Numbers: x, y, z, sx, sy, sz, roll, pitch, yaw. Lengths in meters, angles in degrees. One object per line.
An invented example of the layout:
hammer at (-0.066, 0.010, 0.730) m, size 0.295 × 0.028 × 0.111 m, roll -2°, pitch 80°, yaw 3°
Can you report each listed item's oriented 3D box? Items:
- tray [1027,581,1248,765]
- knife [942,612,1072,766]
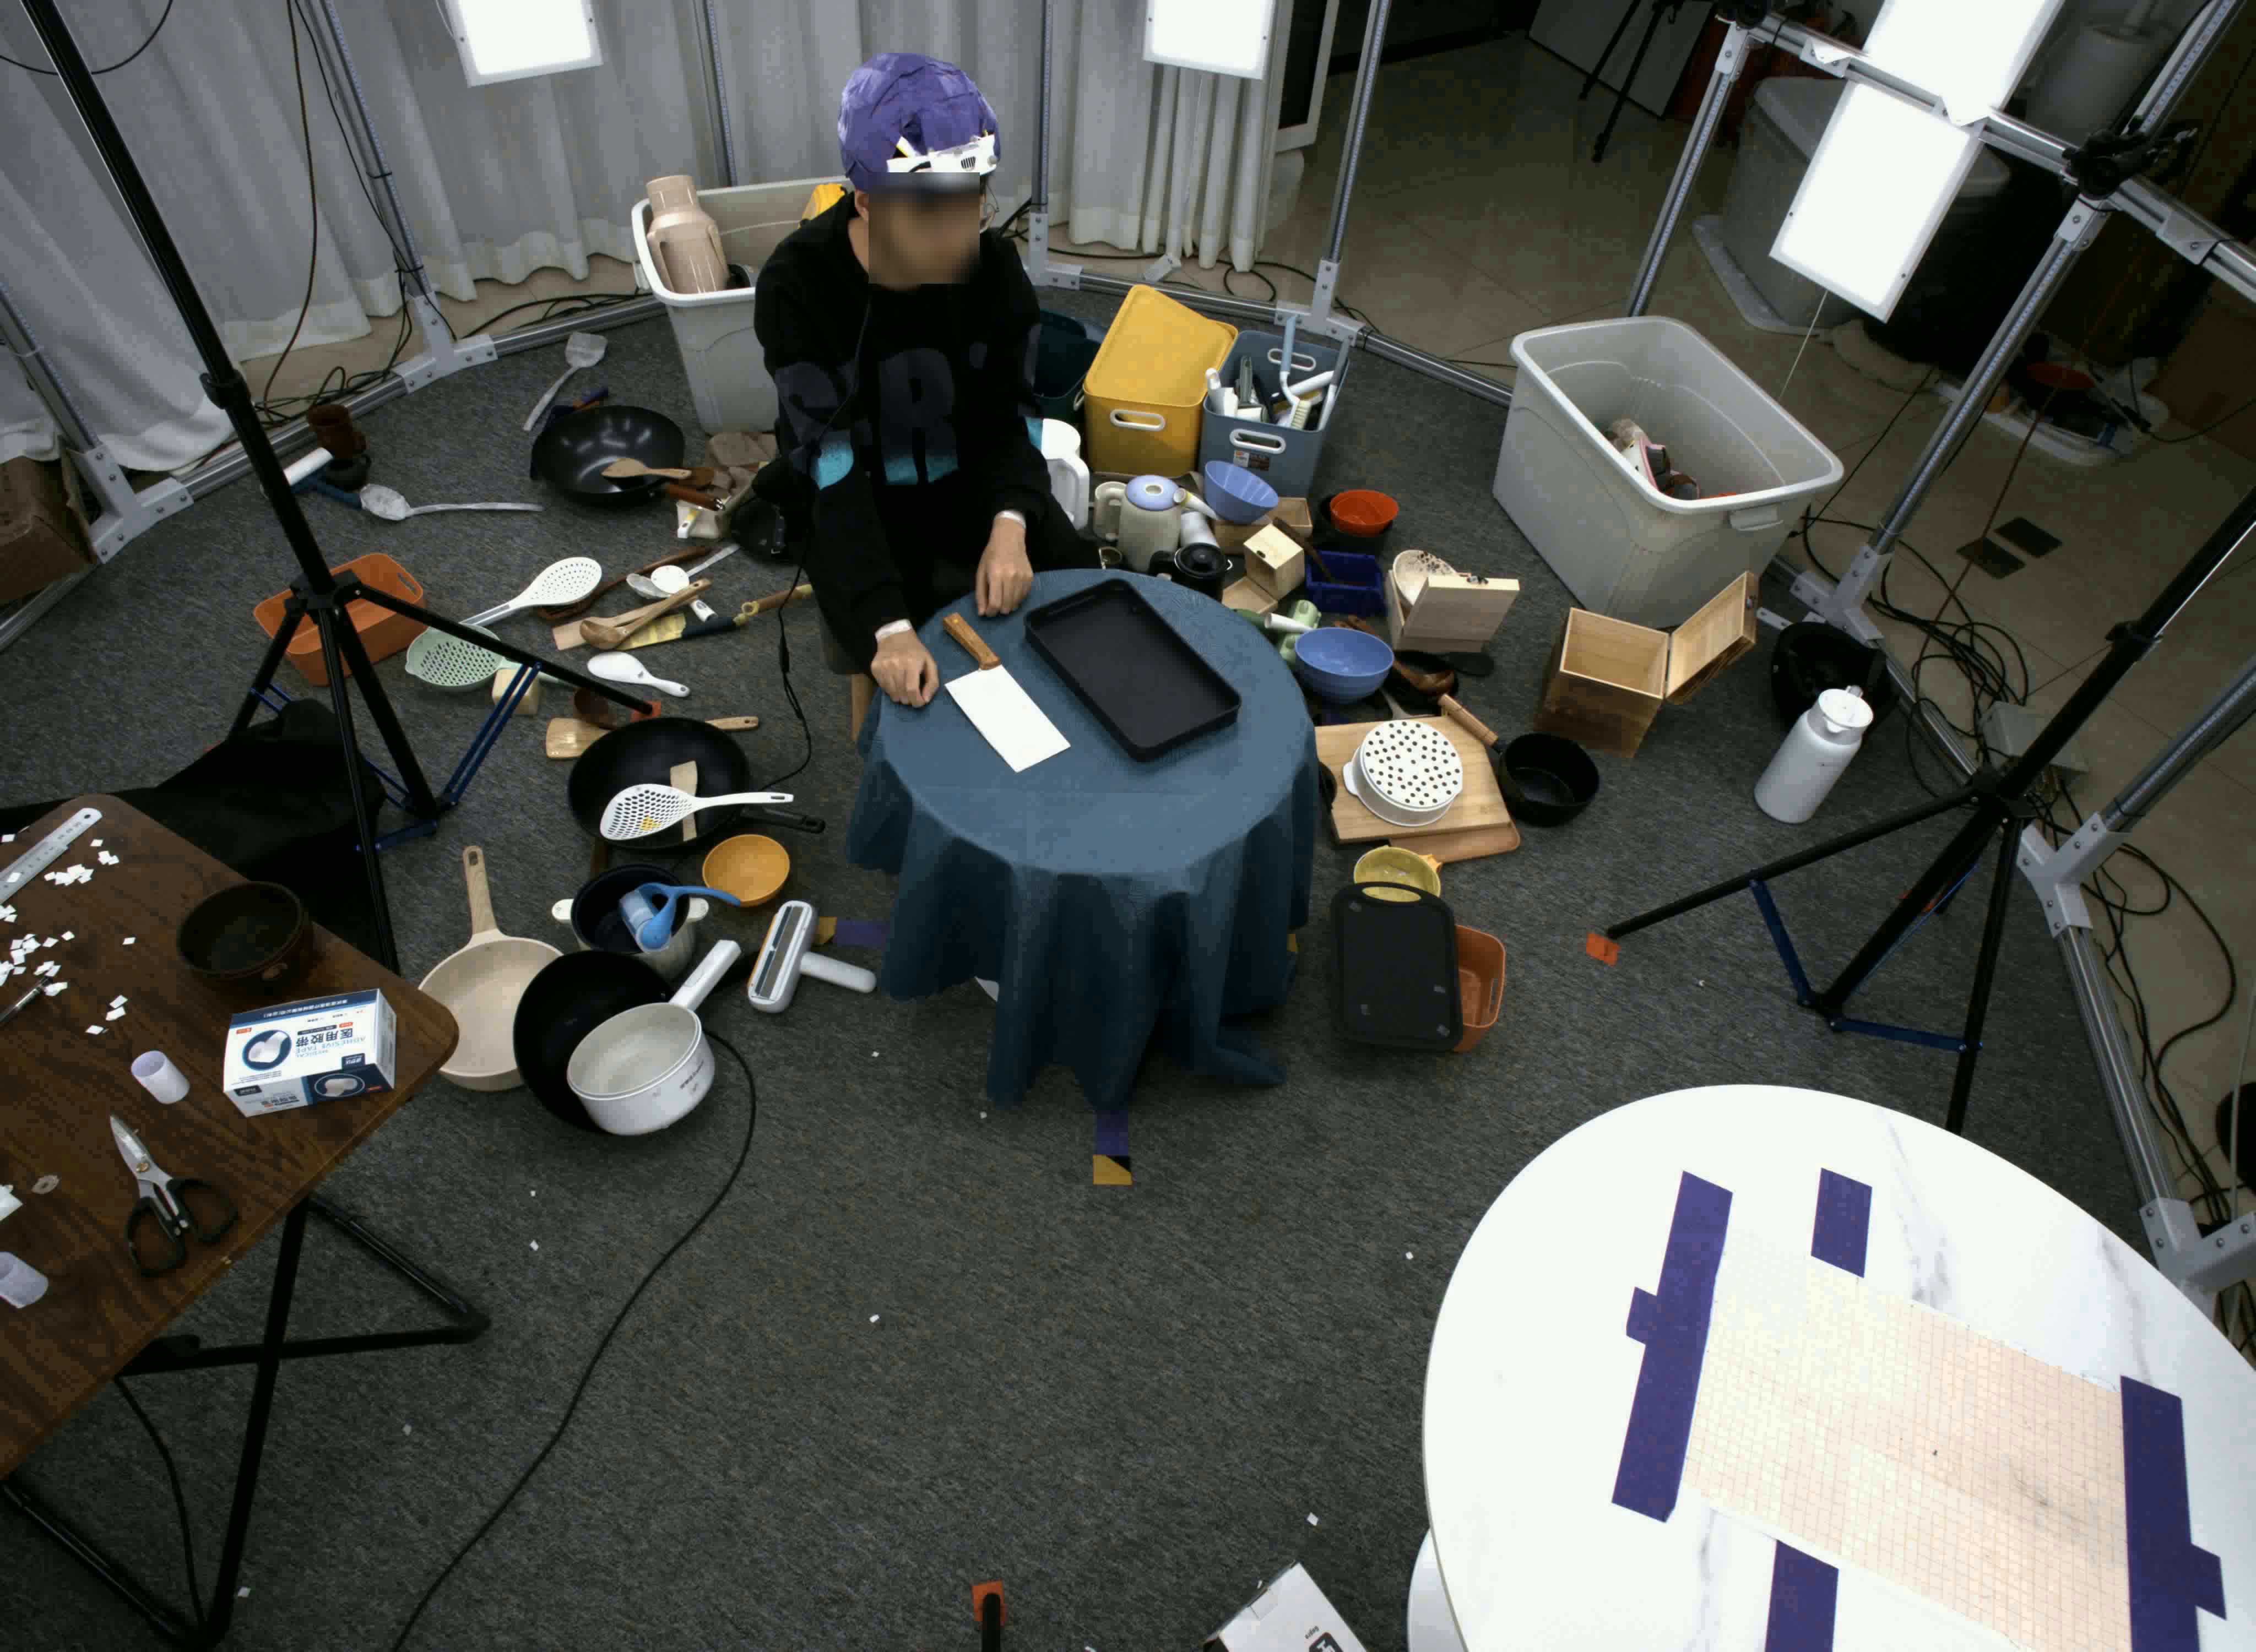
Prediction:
tray at (0.010, -0.225, 1.841) m, size 0.185 × 0.036 × 0.324 m, roll -27°, pitch 56°, yaw -24°
knife at (-0.196, -0.194, 1.814) m, size 0.093 × 0.020 × 0.311 m, roll -27°, pitch 58°, yaw -22°
